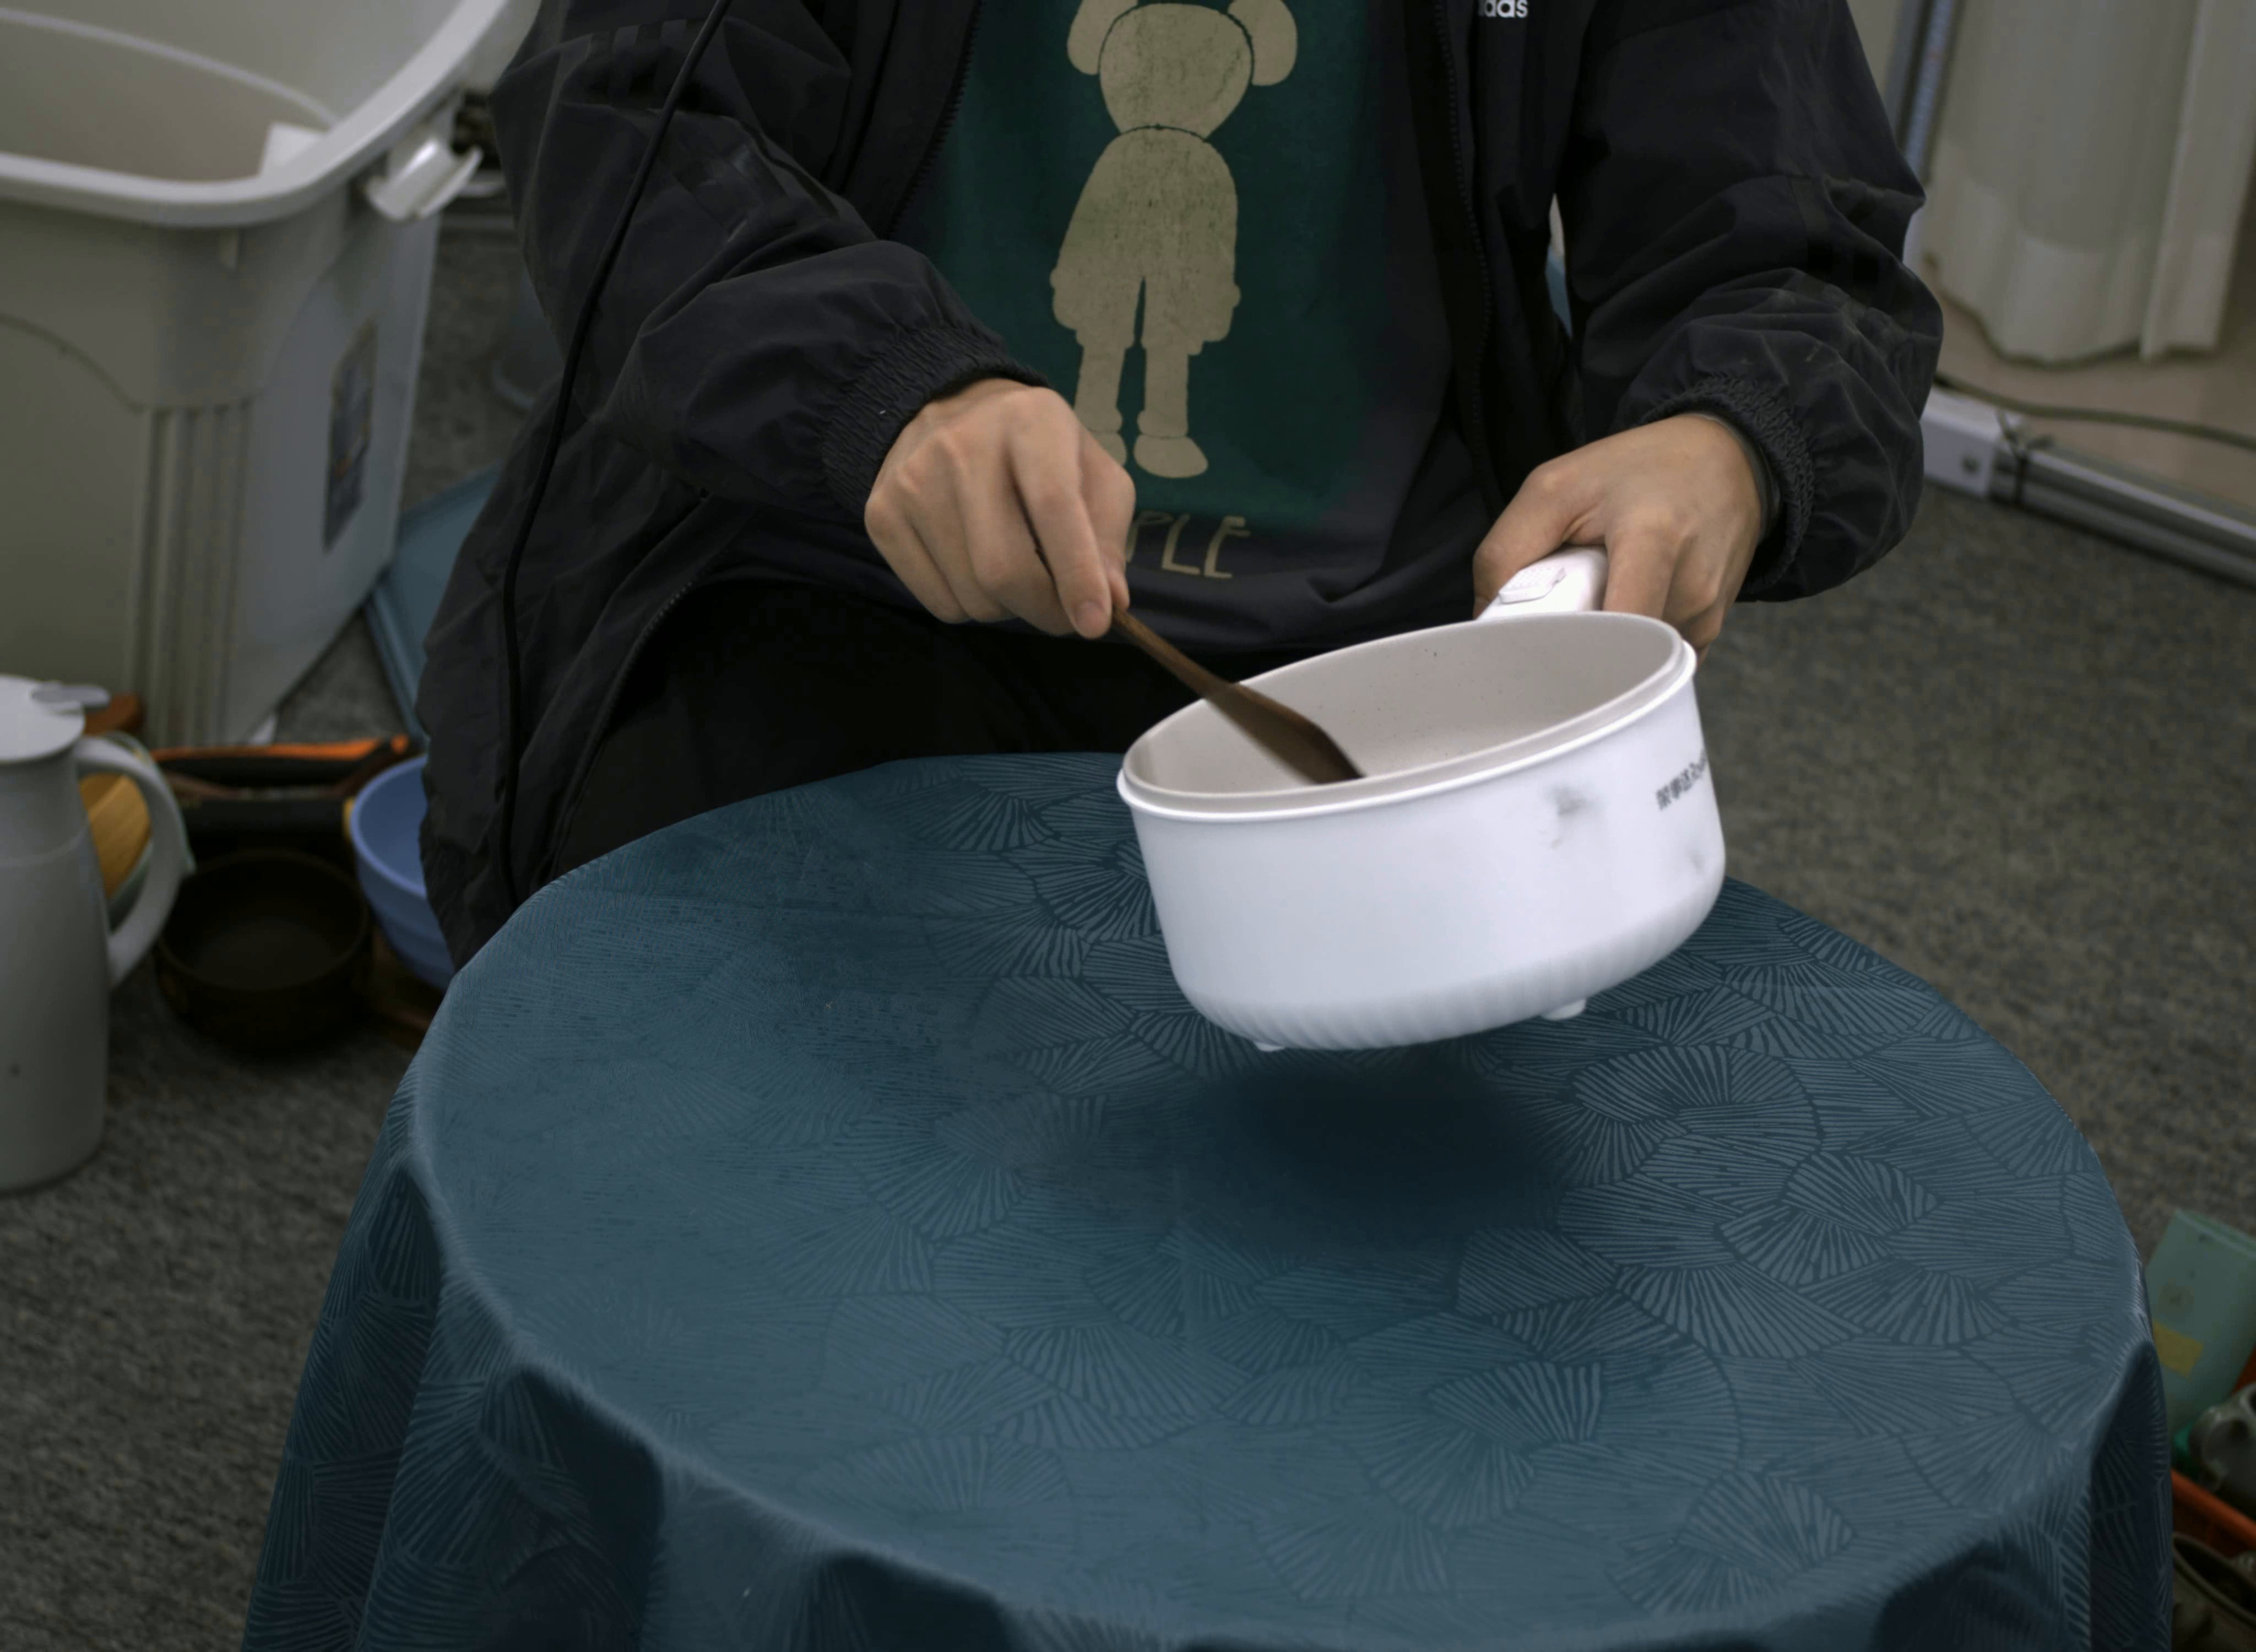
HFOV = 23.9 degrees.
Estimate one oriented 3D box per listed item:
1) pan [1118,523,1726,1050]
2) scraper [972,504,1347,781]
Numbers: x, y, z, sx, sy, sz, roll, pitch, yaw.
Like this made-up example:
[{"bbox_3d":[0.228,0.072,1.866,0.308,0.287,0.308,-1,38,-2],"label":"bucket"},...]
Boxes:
[{"bbox_3d":[0.131,-0.018,1.885,0.201,0.102,0.354,-9,13,24],"label":"pan"},{"bbox_3d":[0.011,-0.059,1.827,0.011,0.075,0.213,-45,48,-8],"label":"scraper"}]
